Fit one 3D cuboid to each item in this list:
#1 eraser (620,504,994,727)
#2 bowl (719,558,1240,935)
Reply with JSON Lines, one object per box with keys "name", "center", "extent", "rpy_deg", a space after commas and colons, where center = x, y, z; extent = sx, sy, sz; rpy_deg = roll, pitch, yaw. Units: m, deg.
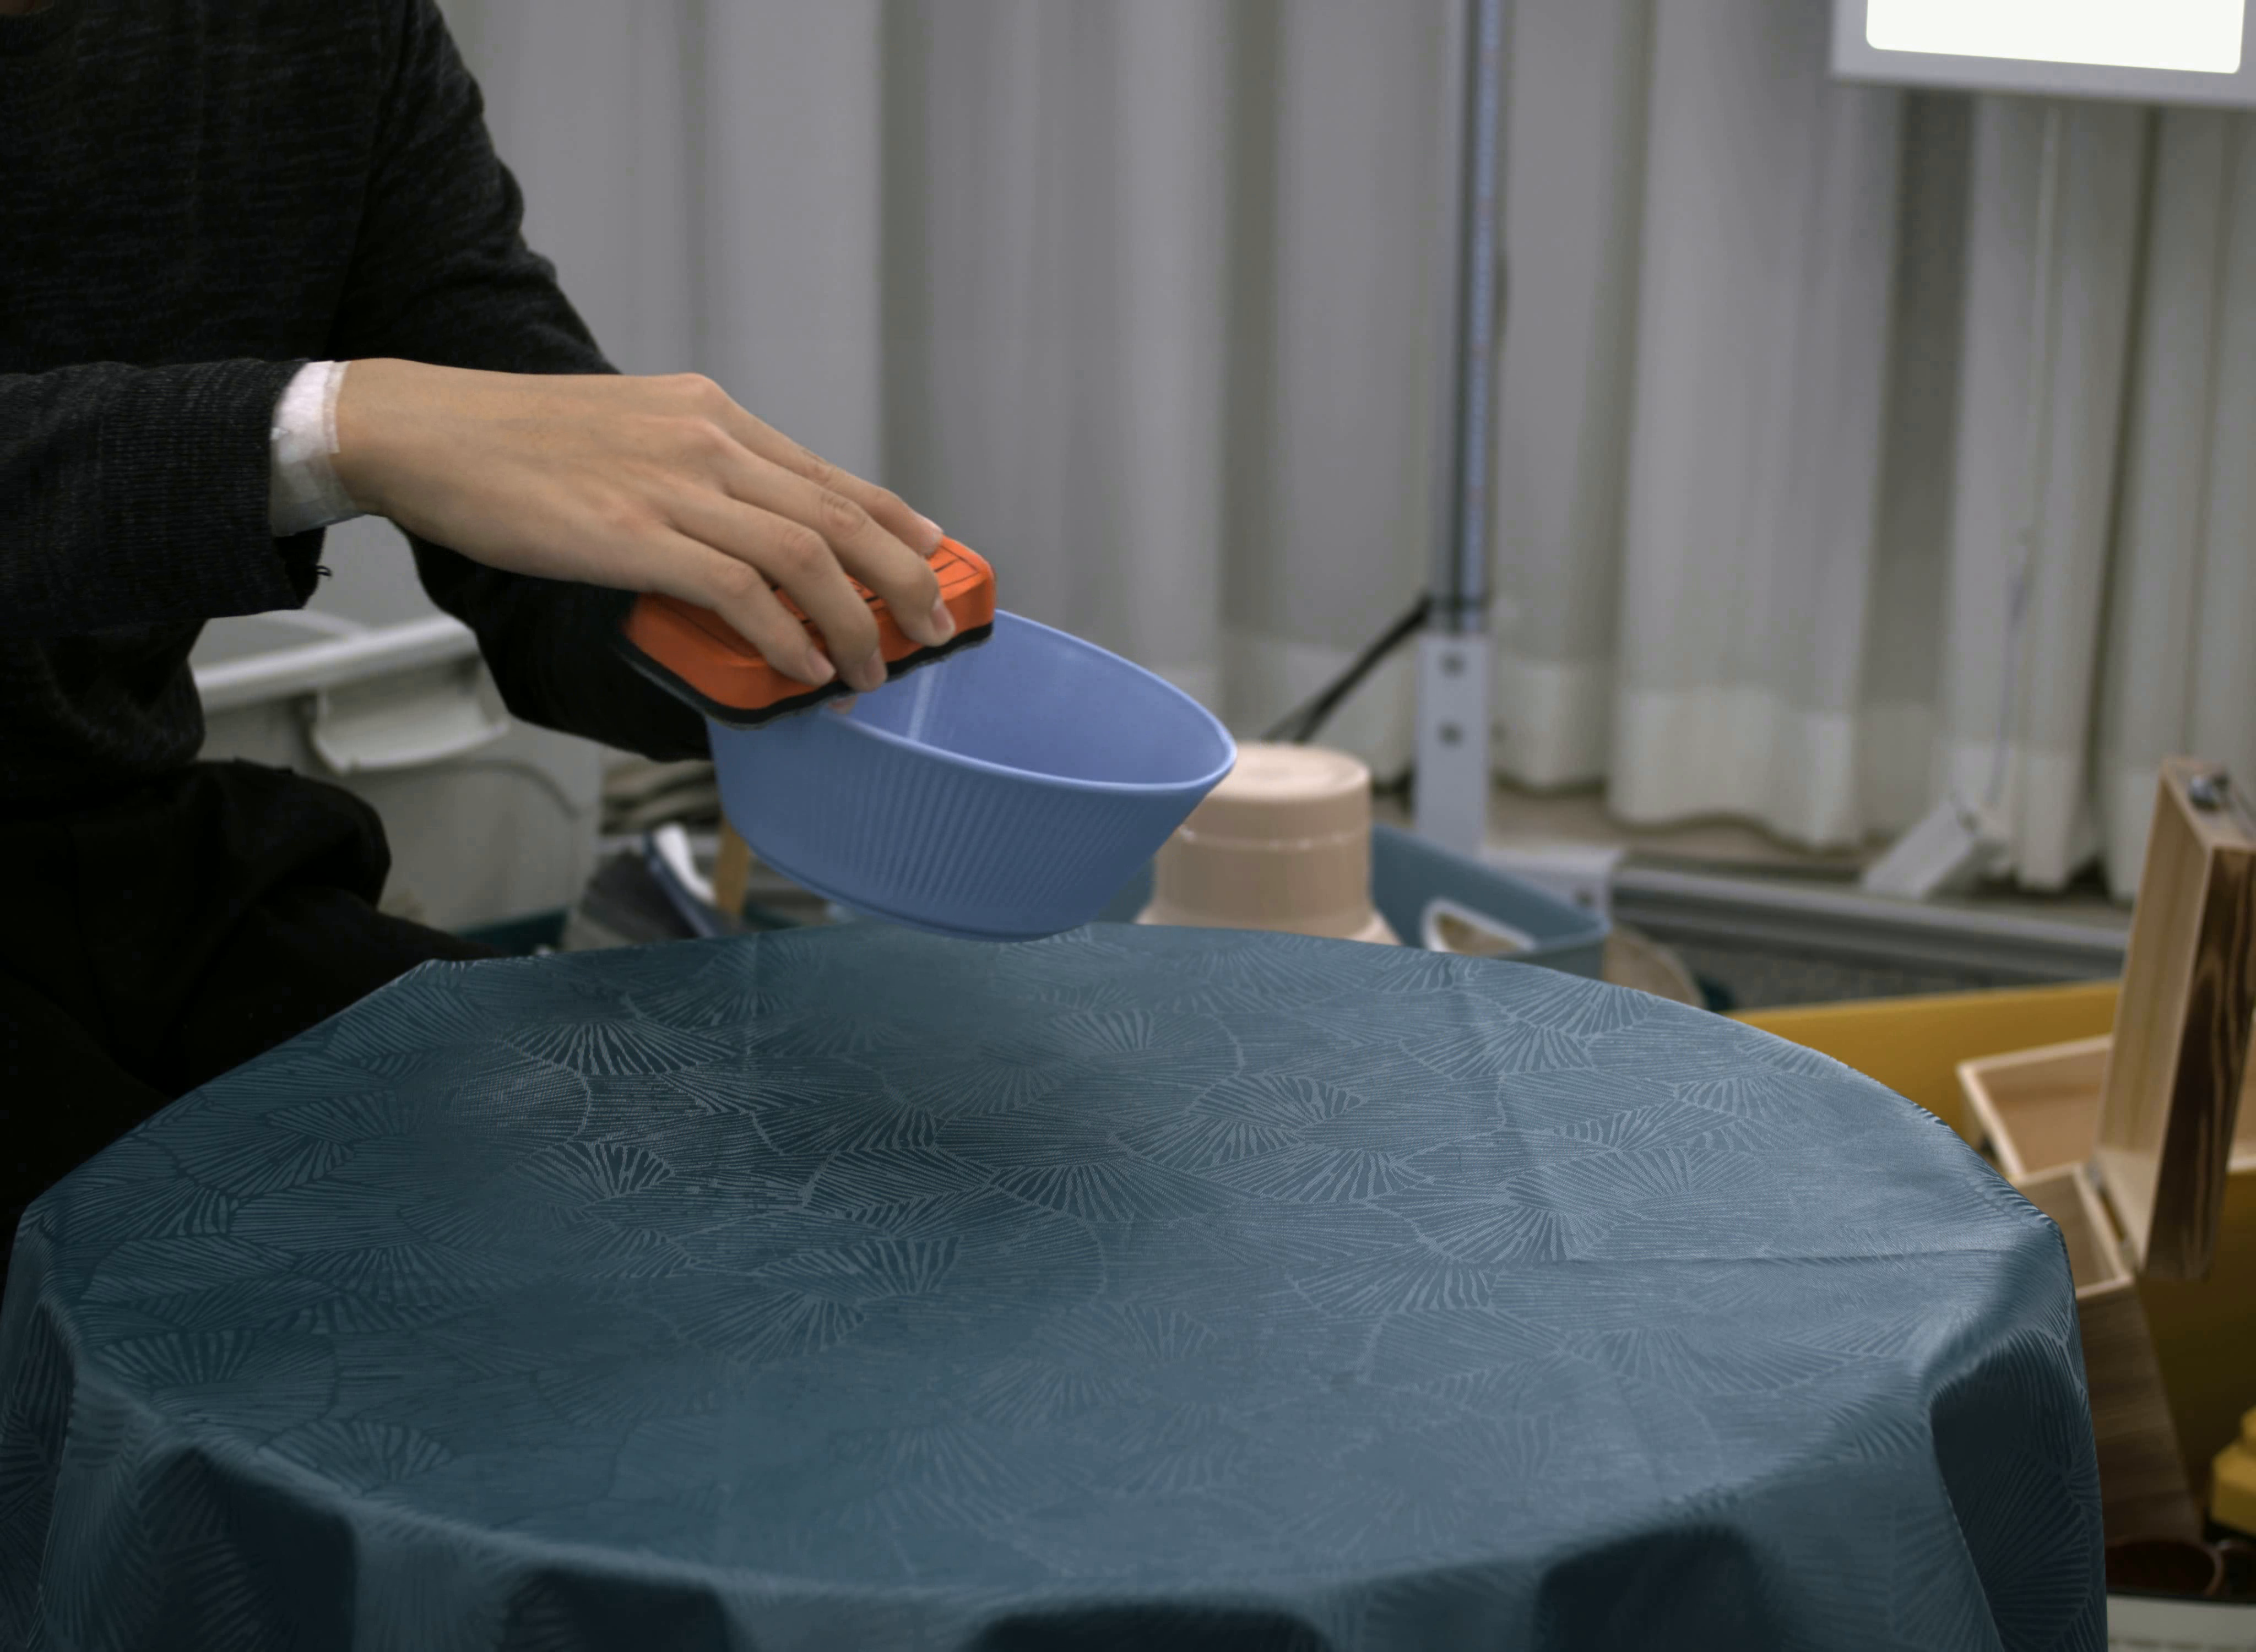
{"name": "eraser", "center": [-0.095, -0.063, 1.567], "extent": [0.108, 0.023, 0.058], "rpy_deg": [-23, 43, -39]}
{"name": "bowl", "center": [-0.058, -0.020, 1.634], "extent": [0.176, 0.070, 0.175], "rpy_deg": [18, 16, -5]}
